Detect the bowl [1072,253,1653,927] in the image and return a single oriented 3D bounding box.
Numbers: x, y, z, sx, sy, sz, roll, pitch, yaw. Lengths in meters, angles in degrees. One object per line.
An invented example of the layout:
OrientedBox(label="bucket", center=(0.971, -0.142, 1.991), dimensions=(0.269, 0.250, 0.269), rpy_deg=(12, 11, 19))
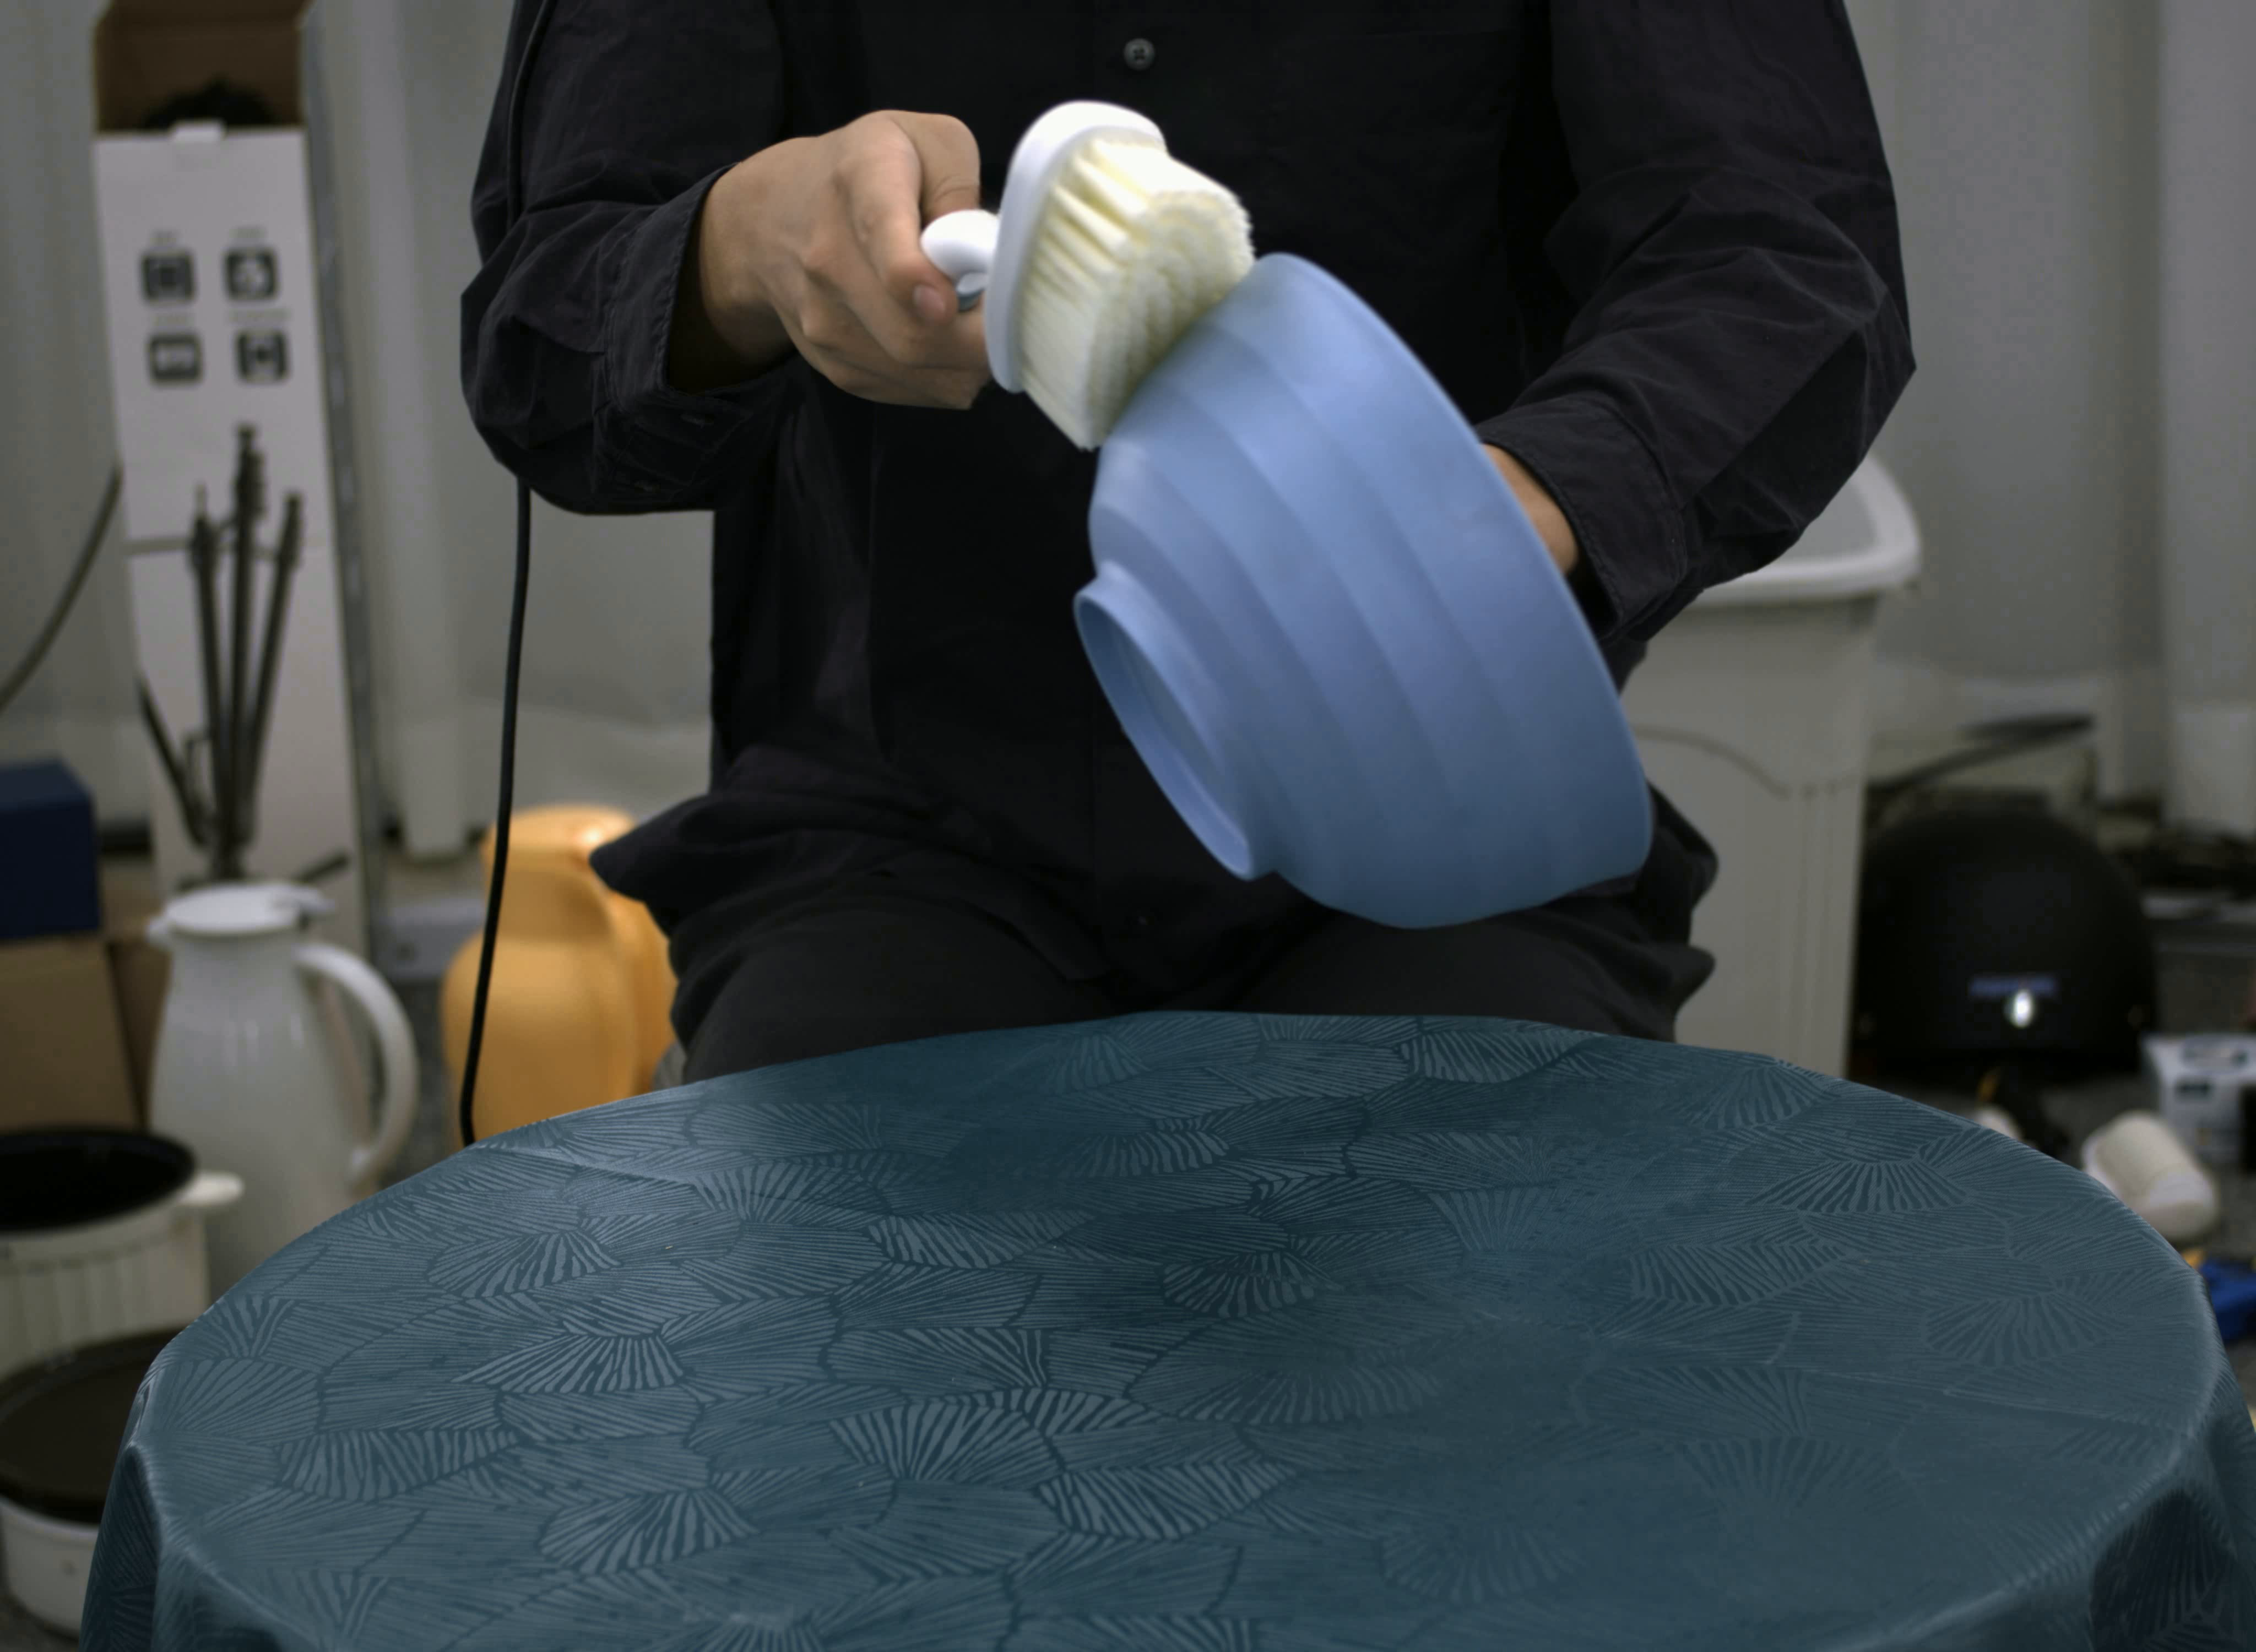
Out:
OrientedBox(label="bowl", center=(0.048, -0.048, 1.491), dimensions=(0.095, 0.195, 0.198), rpy_deg=(-31, 21, -11))

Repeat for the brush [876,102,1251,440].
OrientedBox(label="brush", center=(-0.014, -0.146, 1.585), dimensions=(0.083, 0.085, 0.325), rpy_deg=(-10, -4, -9))
